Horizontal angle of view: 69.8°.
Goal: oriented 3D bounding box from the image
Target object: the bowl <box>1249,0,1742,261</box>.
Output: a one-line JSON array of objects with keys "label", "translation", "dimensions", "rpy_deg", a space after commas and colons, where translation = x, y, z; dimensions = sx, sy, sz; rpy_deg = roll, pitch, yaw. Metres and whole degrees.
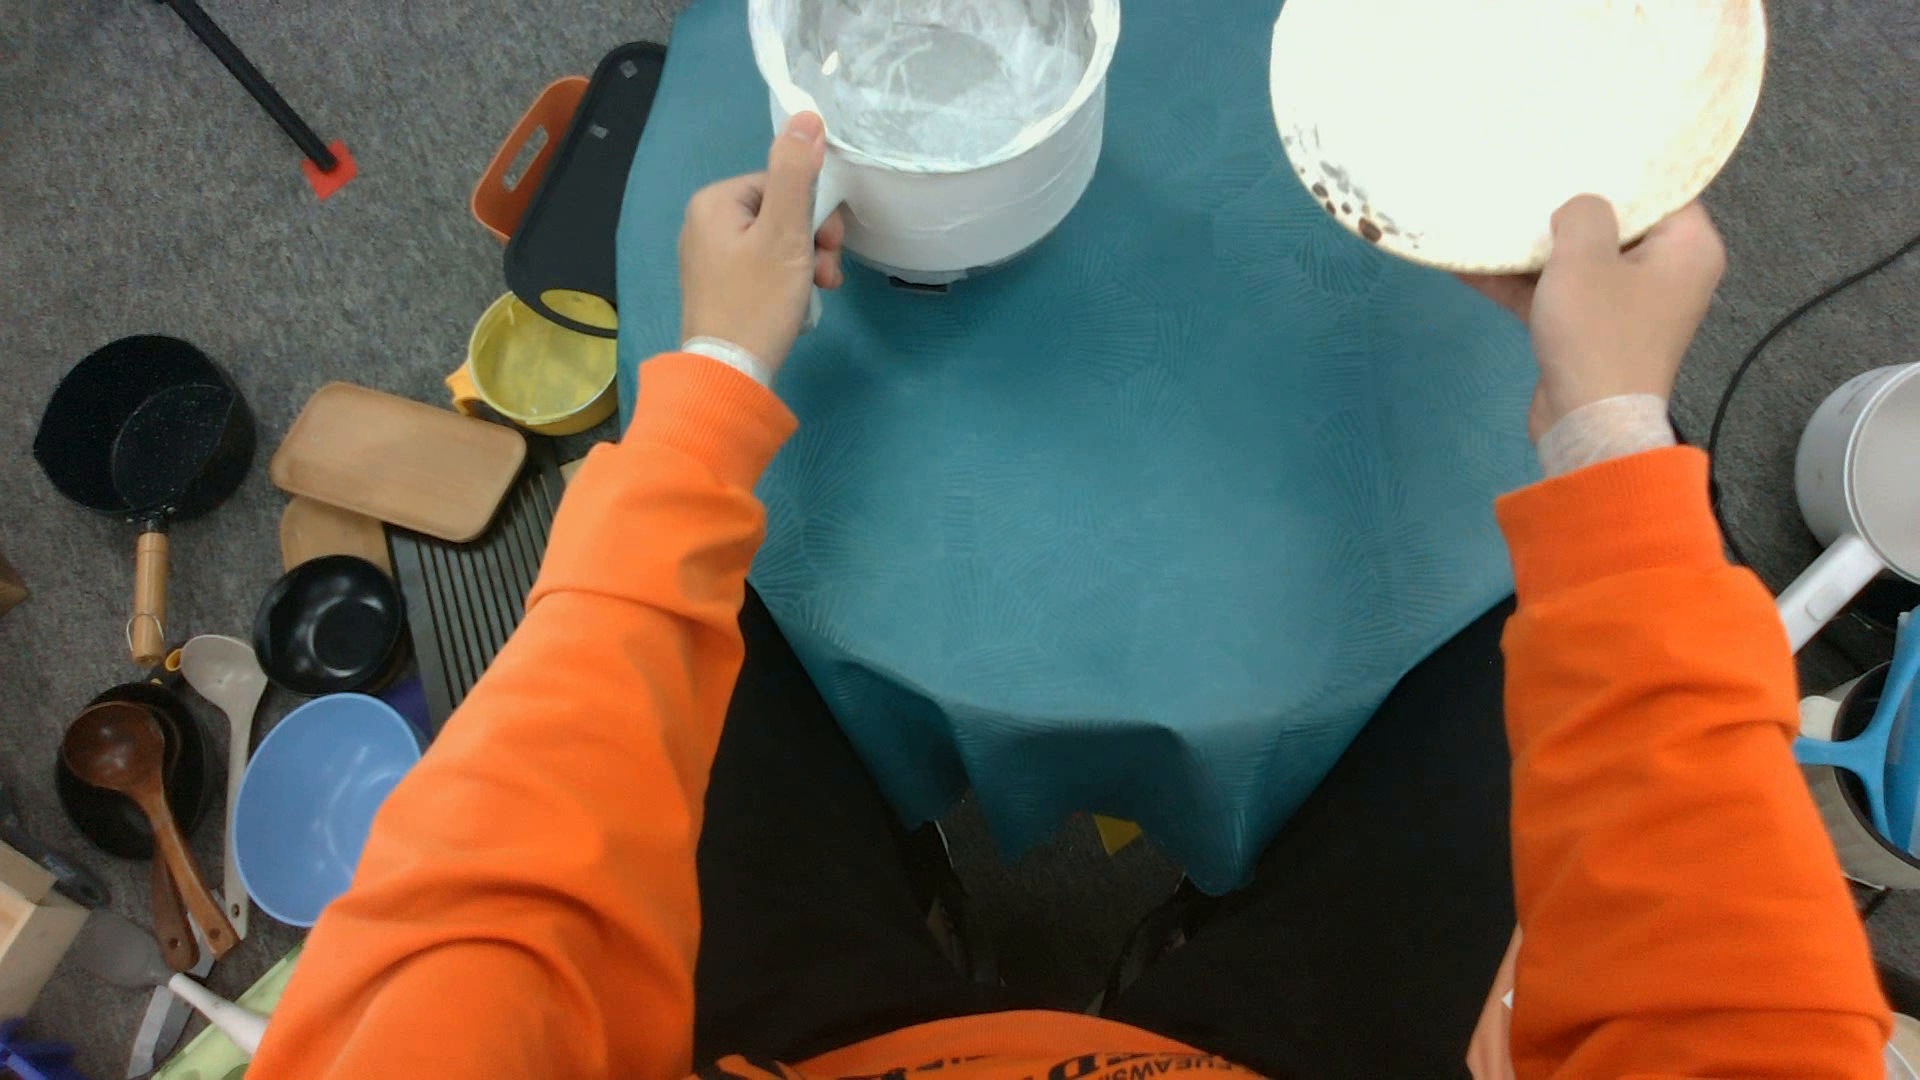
[{"label": "bowl", "translation": [0.241, -0.220, 0.640], "dimensions": [0.203, 0.078, 0.204], "rpy_deg": [-1, 85, 16]}]

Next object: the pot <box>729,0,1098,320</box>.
[{"label": "pot", "translation": [-0.038, -0.222, 0.710], "dimensions": [0.179, 0.136, 0.234], "rpy_deg": [34, 76, 9]}]
